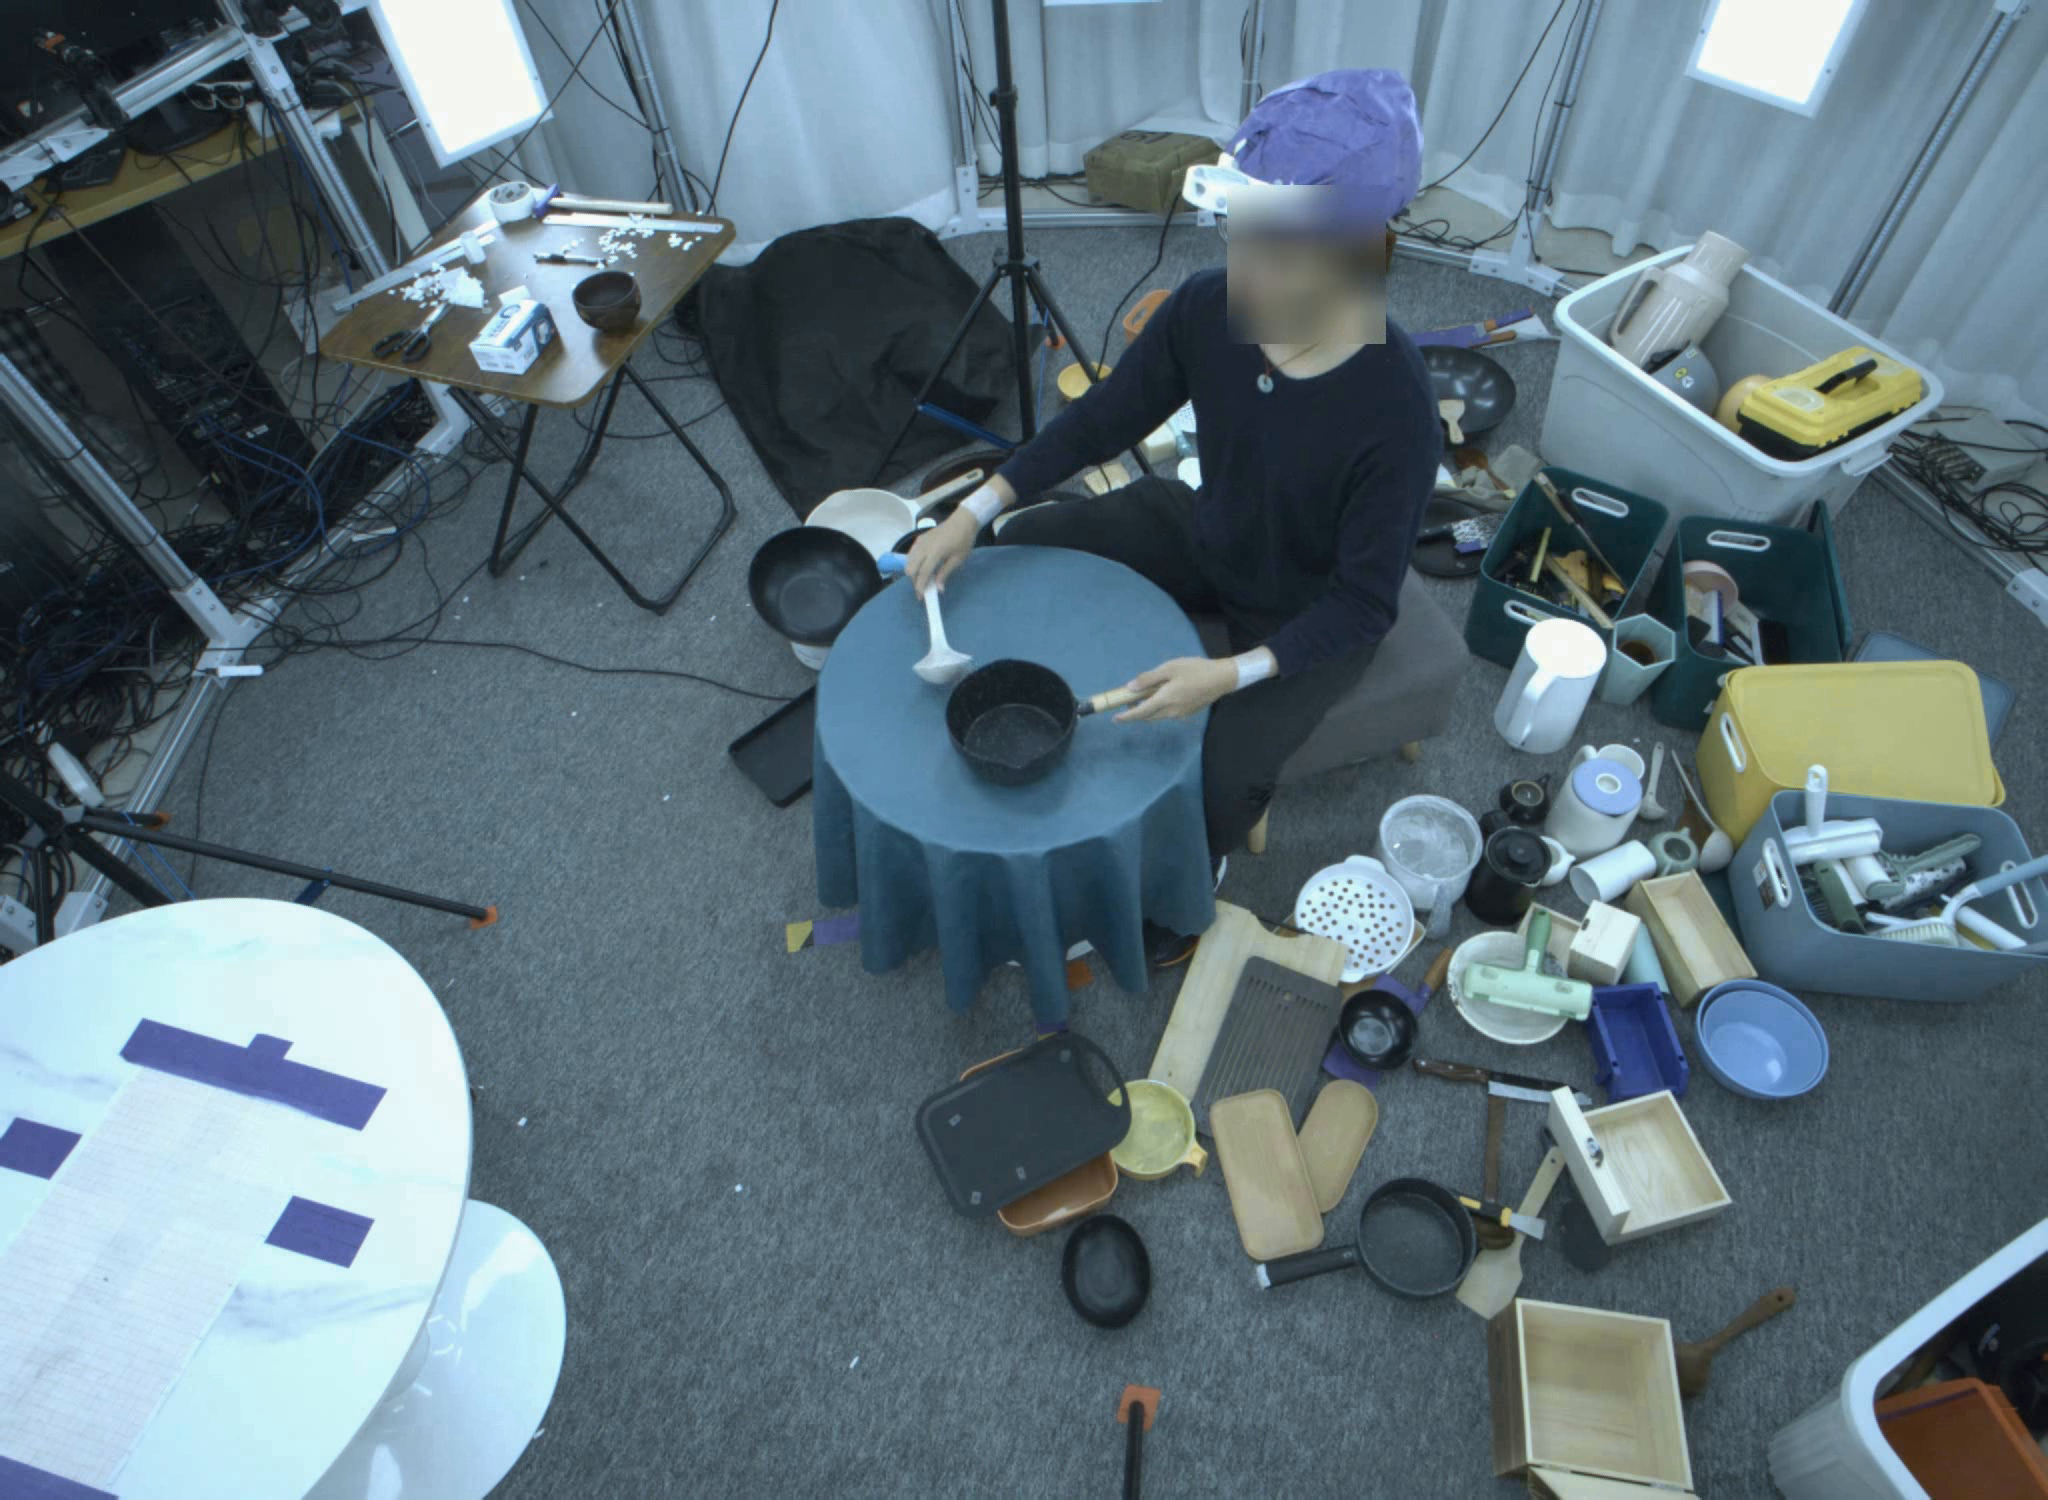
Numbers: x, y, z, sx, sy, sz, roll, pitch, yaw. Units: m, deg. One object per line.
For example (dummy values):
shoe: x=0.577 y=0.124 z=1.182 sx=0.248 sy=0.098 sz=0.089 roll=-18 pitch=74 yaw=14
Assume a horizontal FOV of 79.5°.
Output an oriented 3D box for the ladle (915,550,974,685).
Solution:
ladle: x=-0.136 y=-0.219 z=1.868 sx=0.089 sy=0.070 sz=0.271 roll=-10 pitch=62 yaw=-3

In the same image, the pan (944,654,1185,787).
pan: x=0.060 y=-0.052 z=1.755 sx=0.343 sy=0.109 sz=0.204 roll=-10 pitch=54 yaw=-3
